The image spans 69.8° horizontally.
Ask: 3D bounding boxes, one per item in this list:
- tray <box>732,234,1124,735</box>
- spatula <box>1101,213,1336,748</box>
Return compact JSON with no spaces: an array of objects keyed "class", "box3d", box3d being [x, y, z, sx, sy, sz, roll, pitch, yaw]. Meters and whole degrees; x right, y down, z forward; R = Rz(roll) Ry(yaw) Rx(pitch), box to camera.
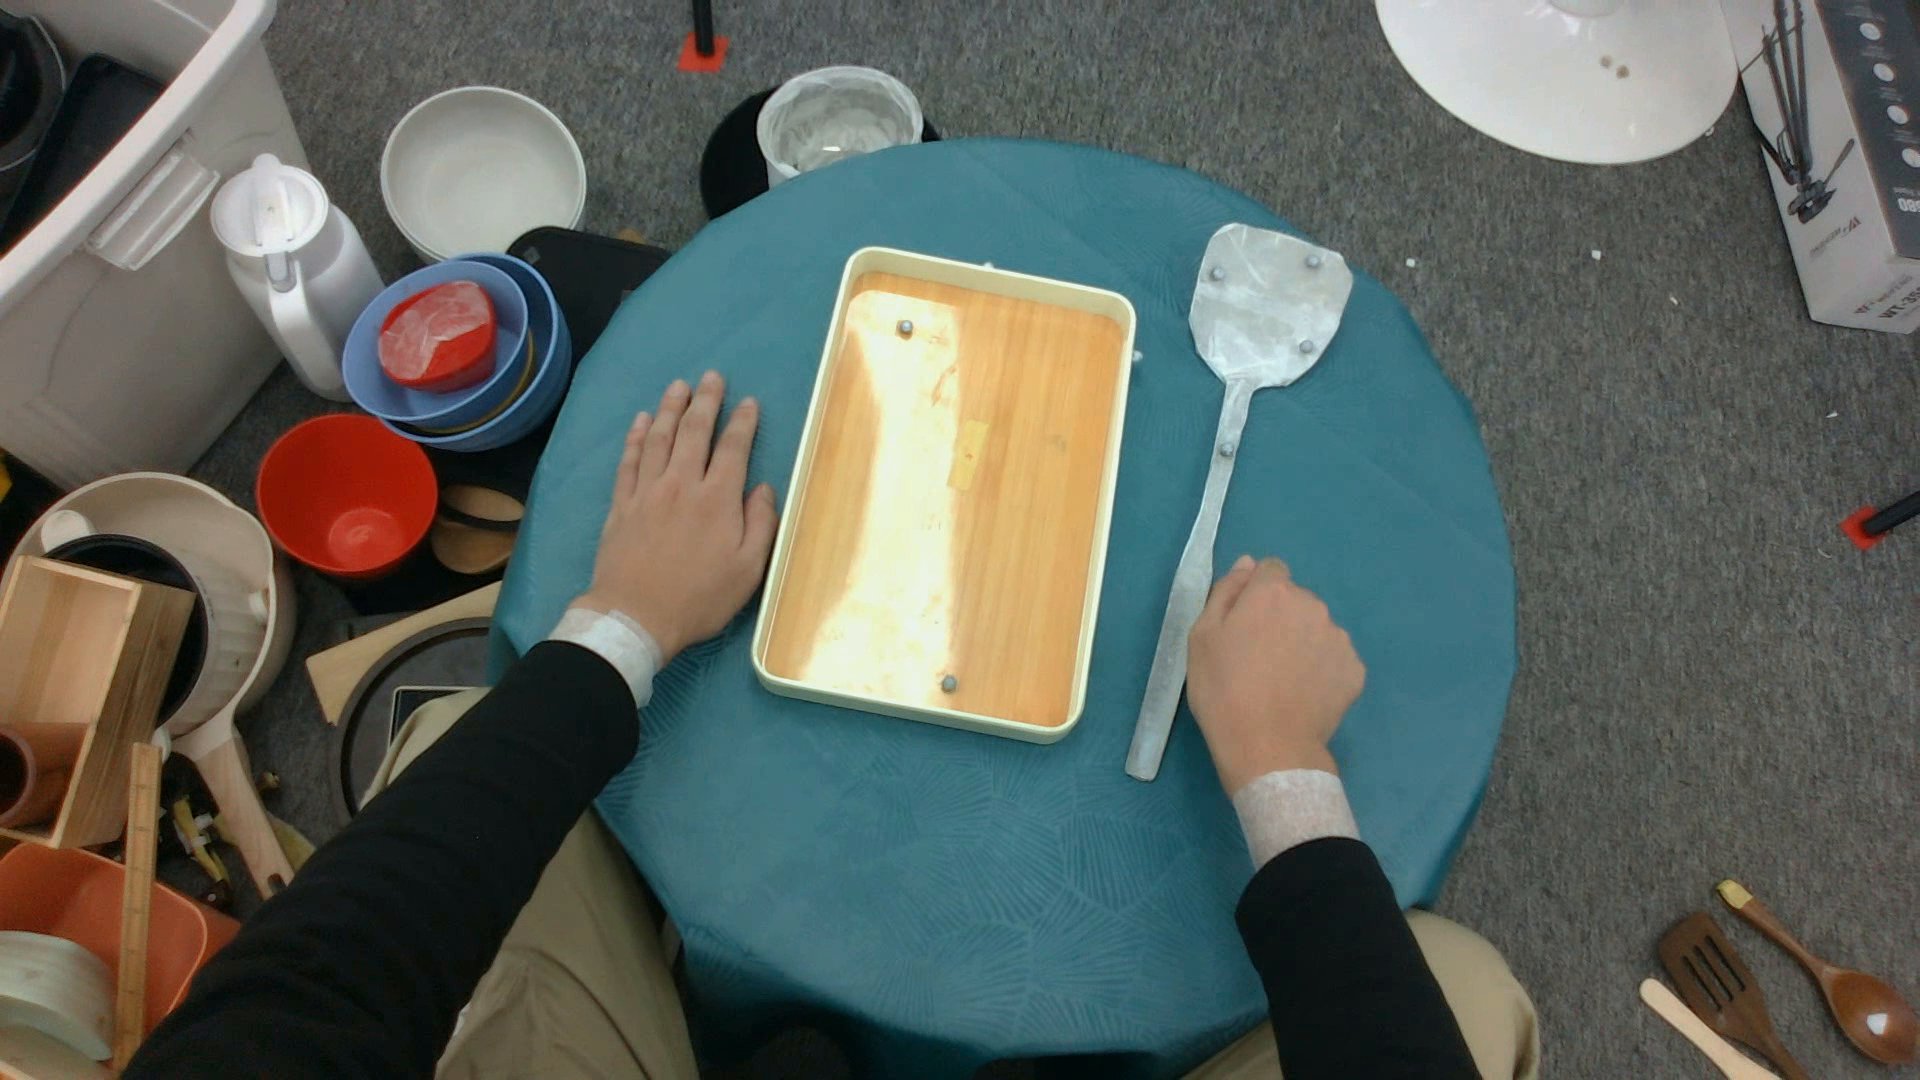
[{"class":"tray","box3d":[-0.012,-0.042,0.831,0.191,0.027,0.301,12,65,-1]},{"class":"spatula","box3d":[0.148,-0.043,0.843,0.099,0.044,0.366,19,65,2]}]
